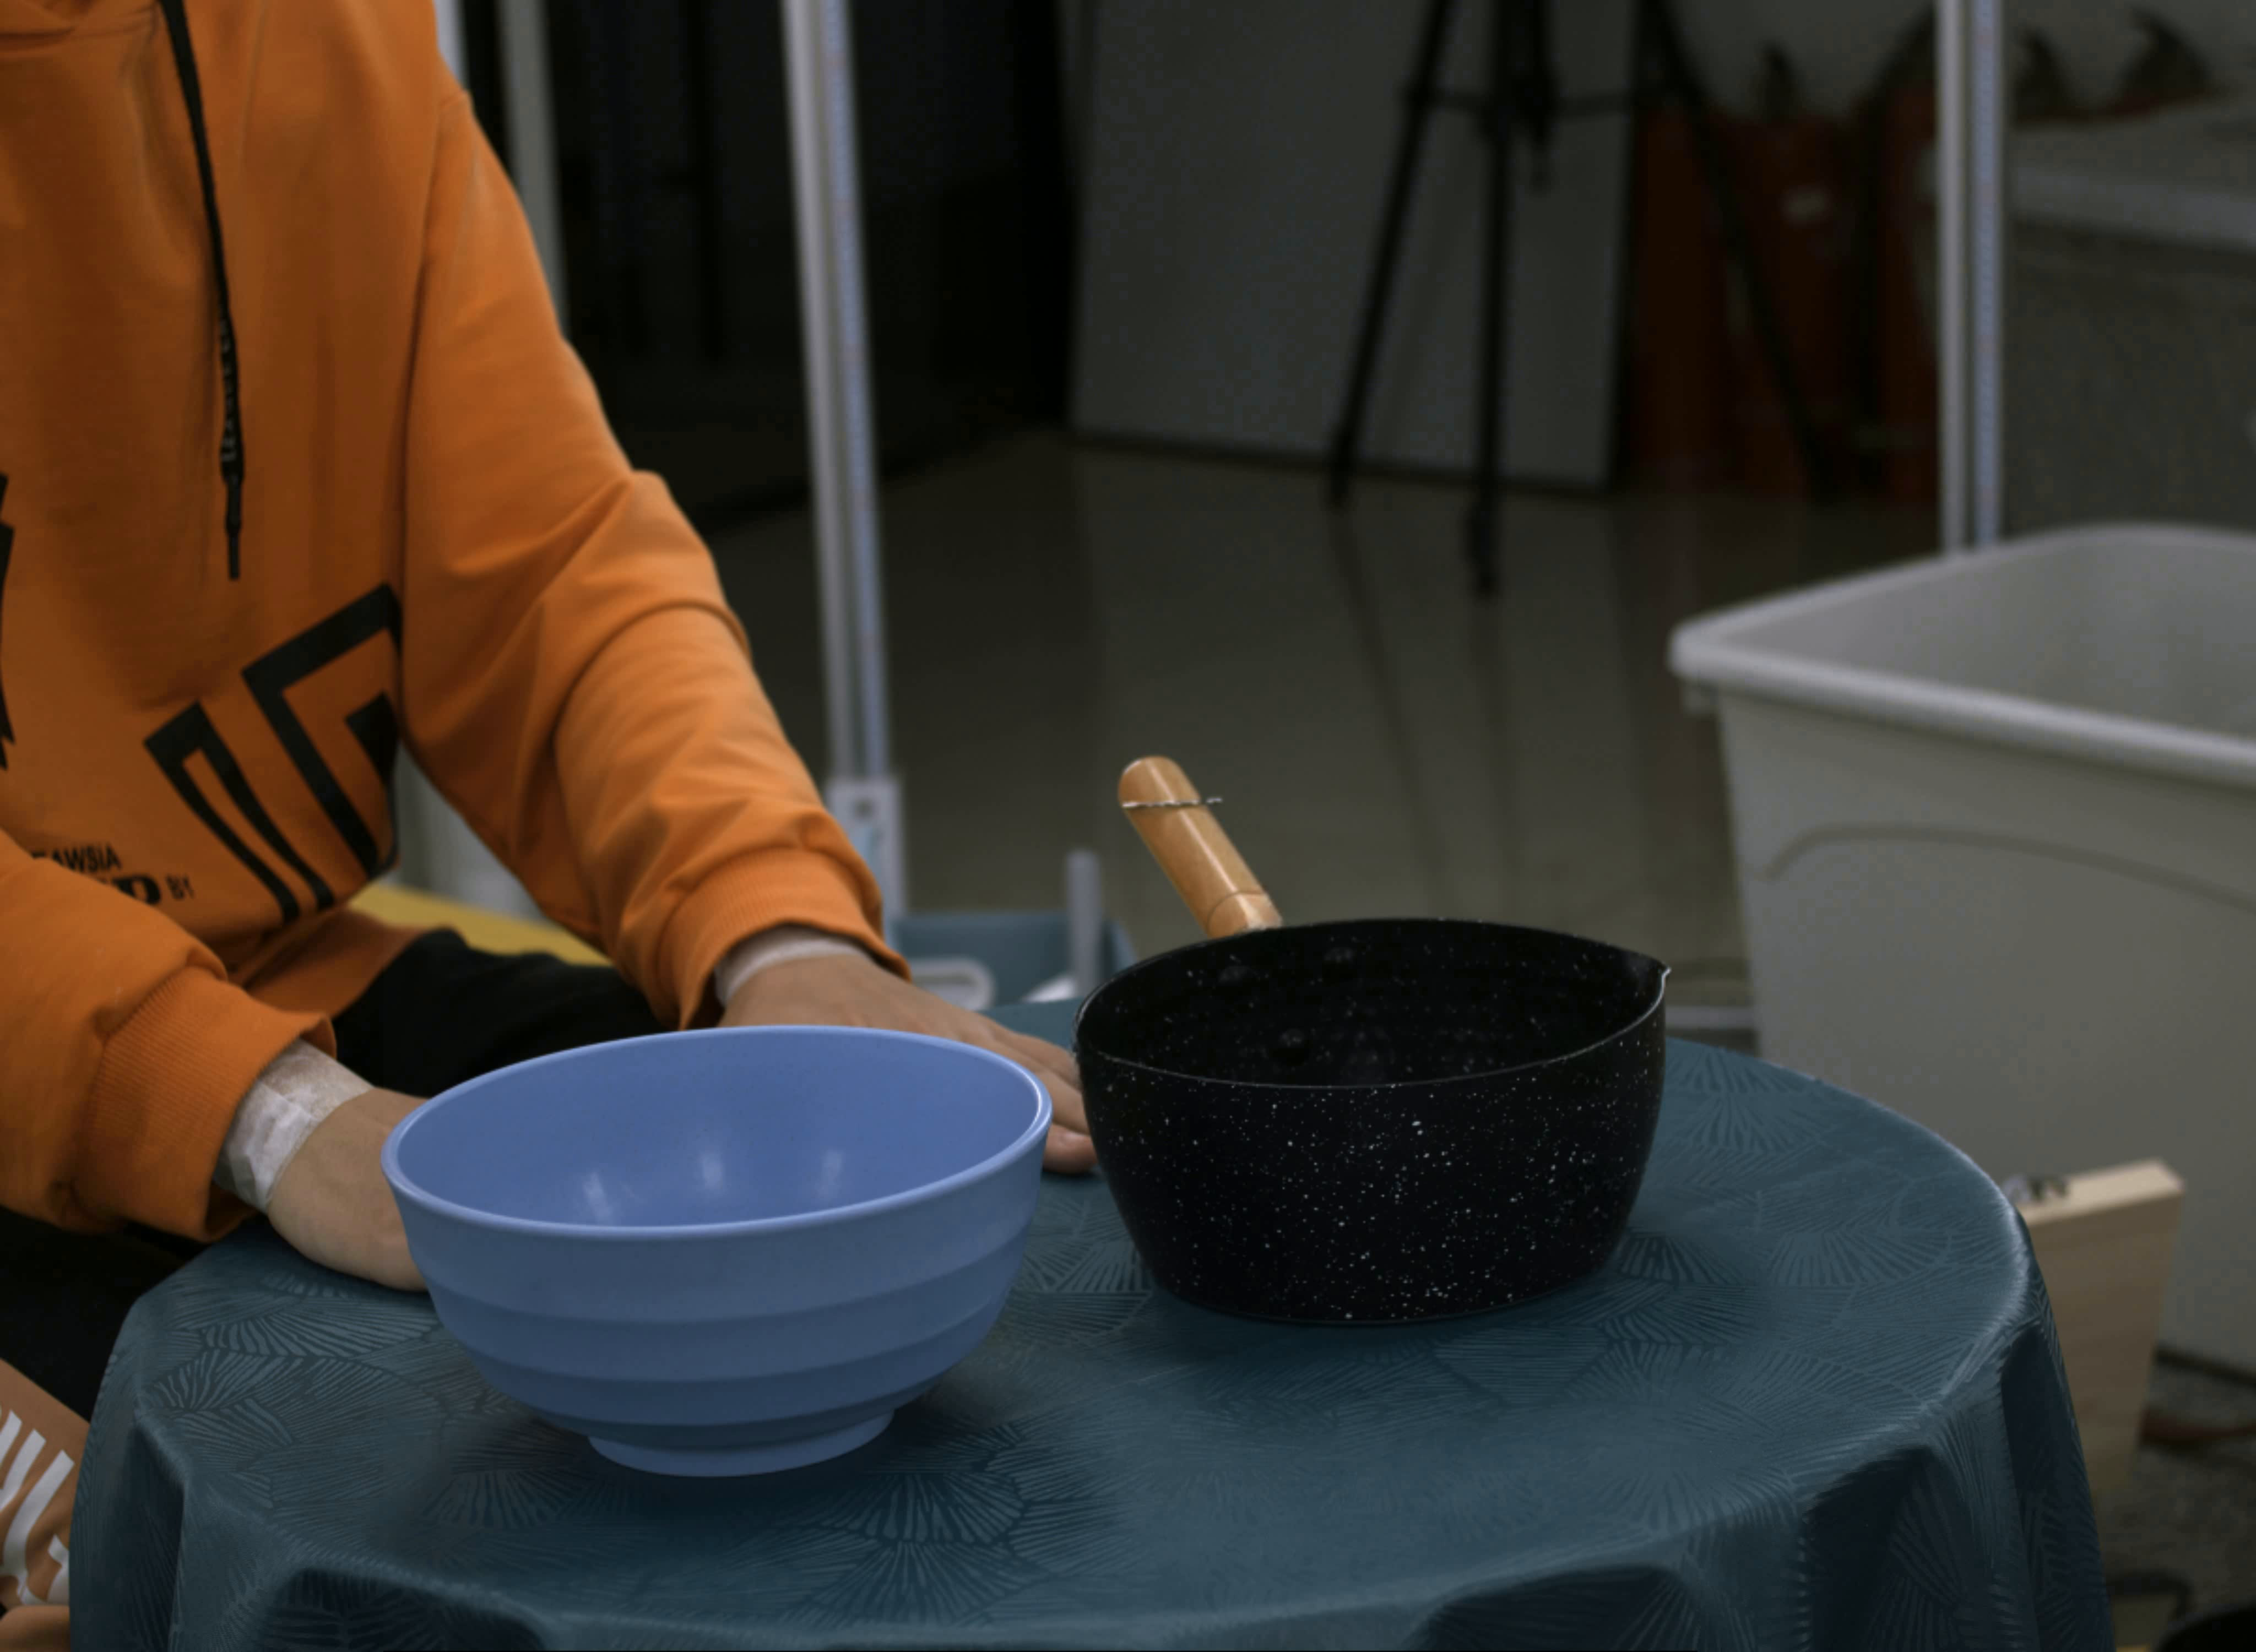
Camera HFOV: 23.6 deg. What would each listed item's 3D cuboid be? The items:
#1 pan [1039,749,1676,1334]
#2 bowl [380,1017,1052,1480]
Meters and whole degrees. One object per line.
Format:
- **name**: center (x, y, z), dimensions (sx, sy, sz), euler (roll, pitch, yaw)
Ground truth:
- **pan**: center (0.054, 0.064, 1.757), dimensions (0.203, 0.109, 0.345), euler (-9, 16, -15)
- **bowl**: center (-0.116, 0.129, 1.571), dimensions (0.194, 0.096, 0.197), euler (-4, 15, 0)
